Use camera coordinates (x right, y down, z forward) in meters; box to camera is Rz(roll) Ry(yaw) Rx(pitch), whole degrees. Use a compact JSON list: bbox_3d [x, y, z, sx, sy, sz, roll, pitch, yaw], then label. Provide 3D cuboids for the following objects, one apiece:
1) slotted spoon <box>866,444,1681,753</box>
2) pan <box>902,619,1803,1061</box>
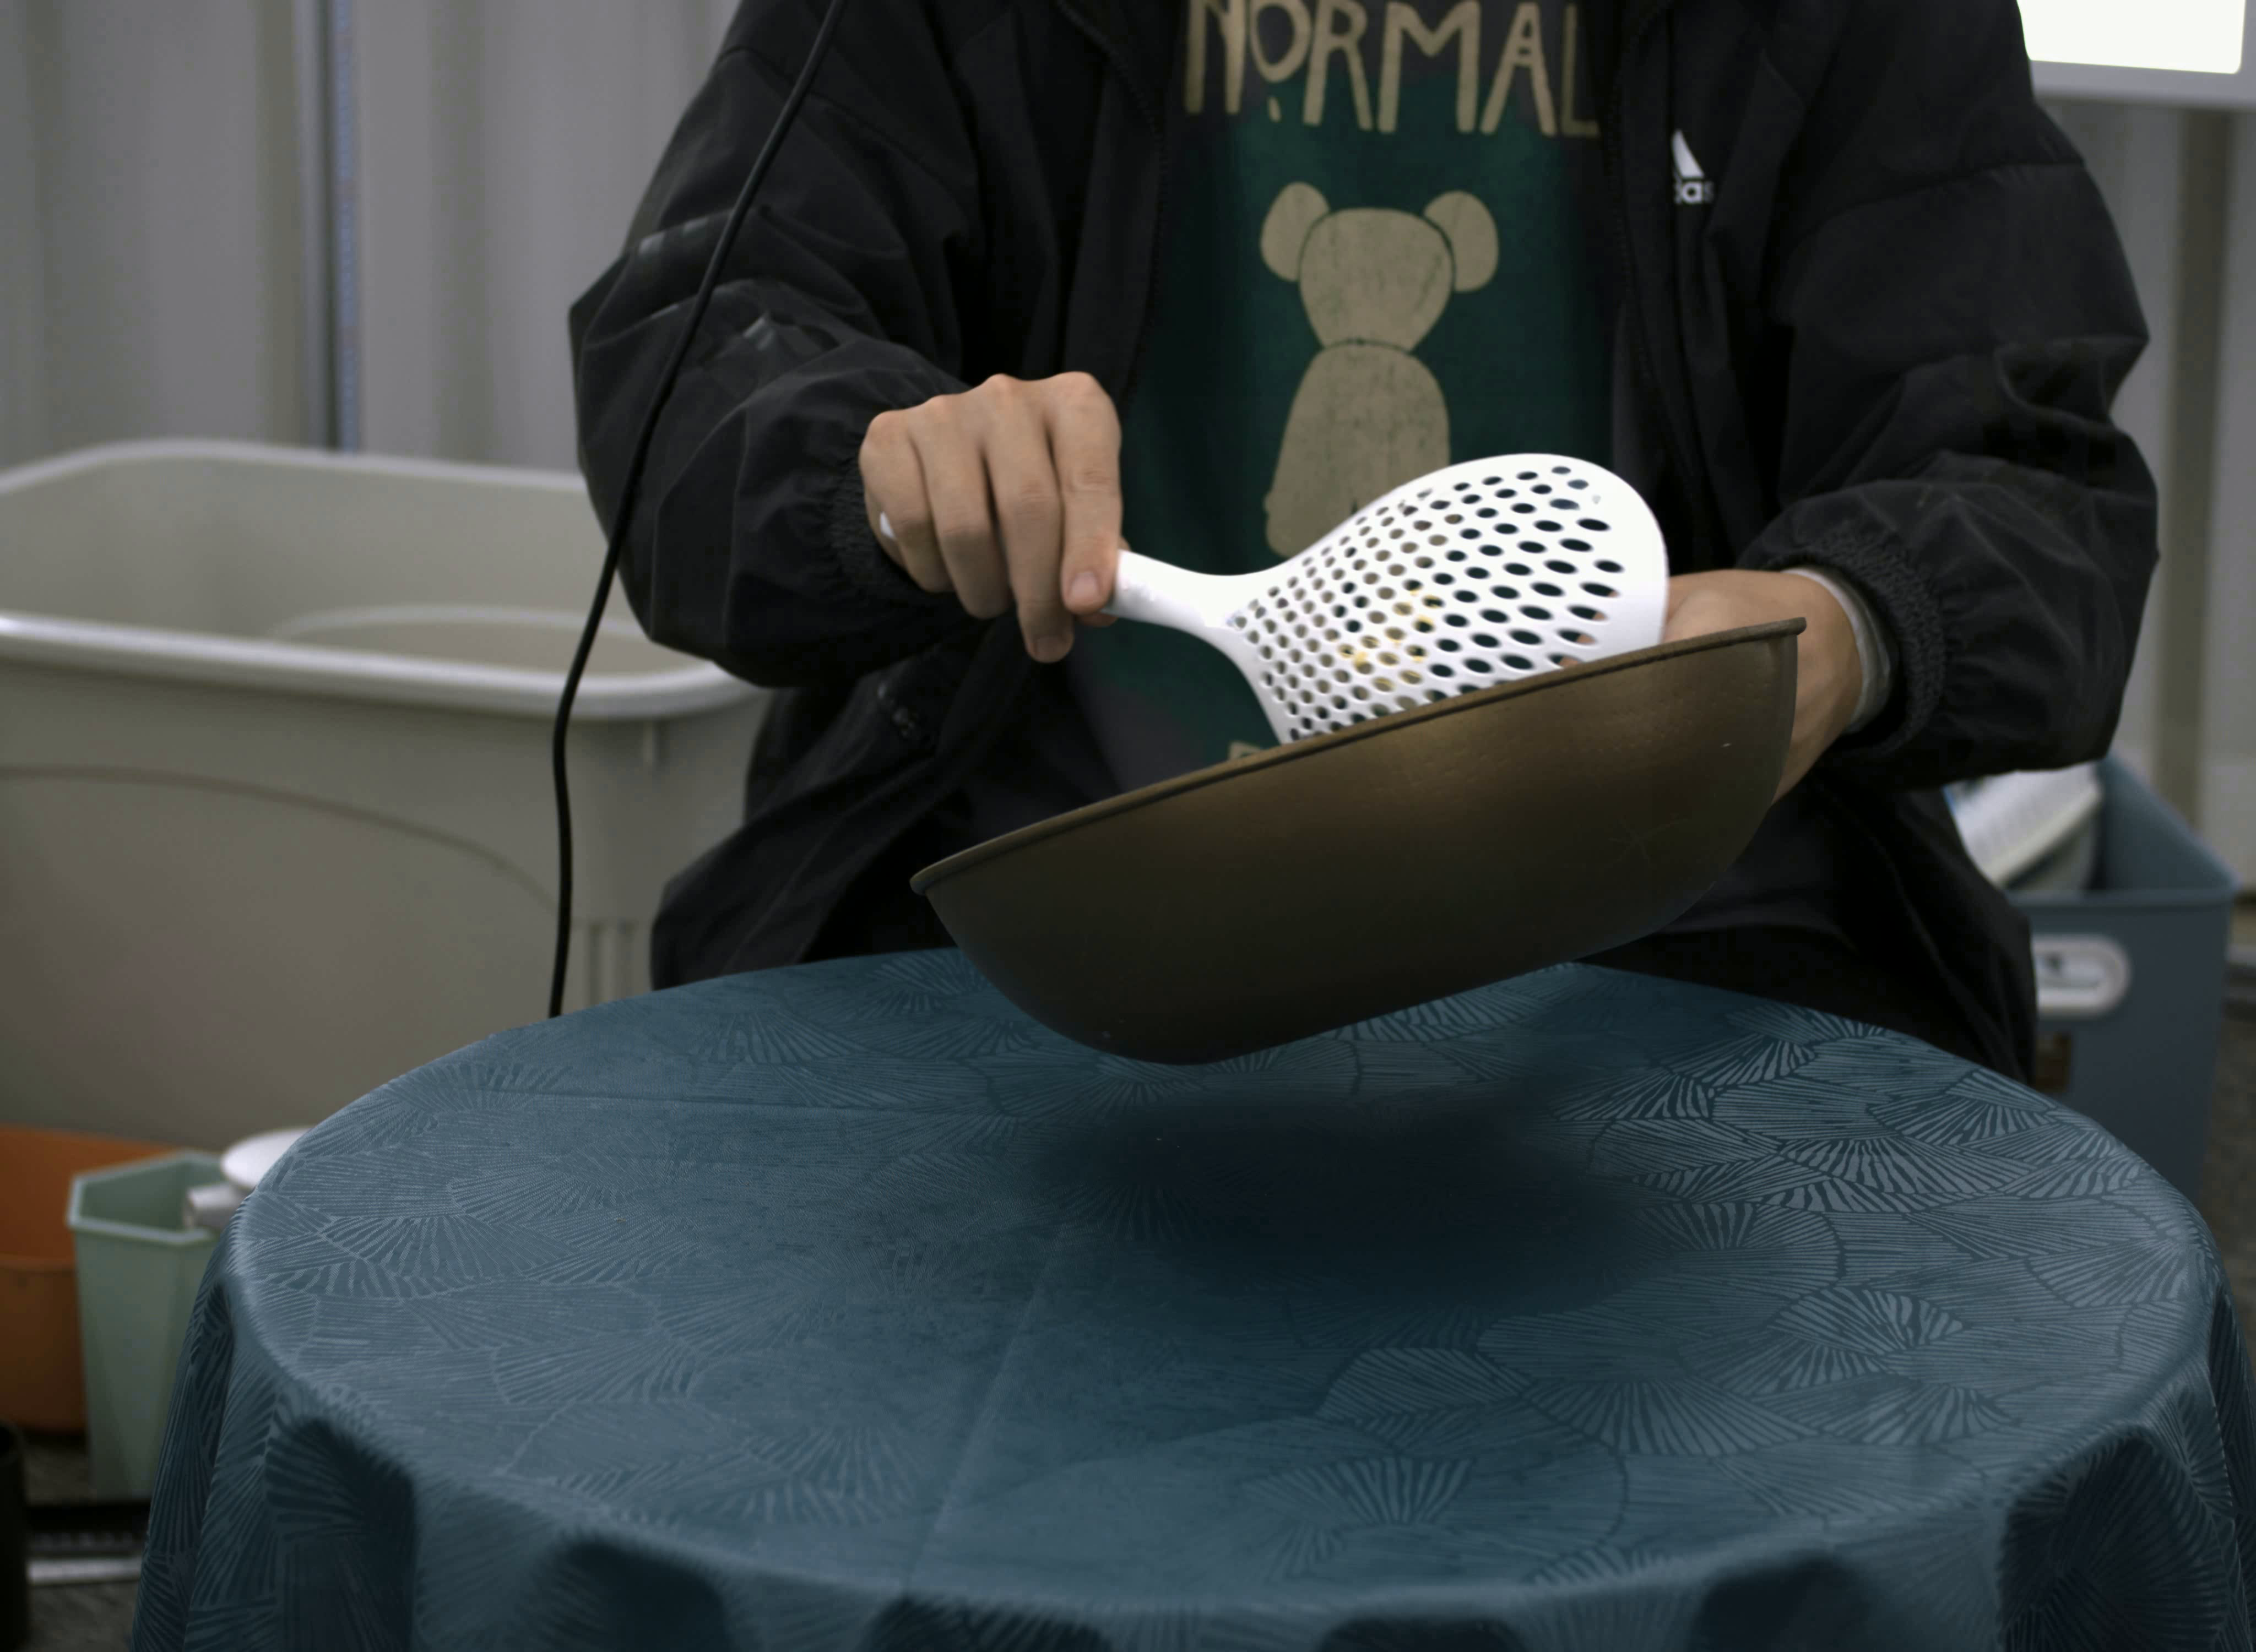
[{"bbox_3d":[0.034,-0.071,1.663,0.051,0.137,0.343,15,0,-40],"label":"slotted spoon"},{"bbox_3d":[0.117,0.005,1.675,0.286,0.087,0.466,-17,-3,26],"label":"pan"}]
